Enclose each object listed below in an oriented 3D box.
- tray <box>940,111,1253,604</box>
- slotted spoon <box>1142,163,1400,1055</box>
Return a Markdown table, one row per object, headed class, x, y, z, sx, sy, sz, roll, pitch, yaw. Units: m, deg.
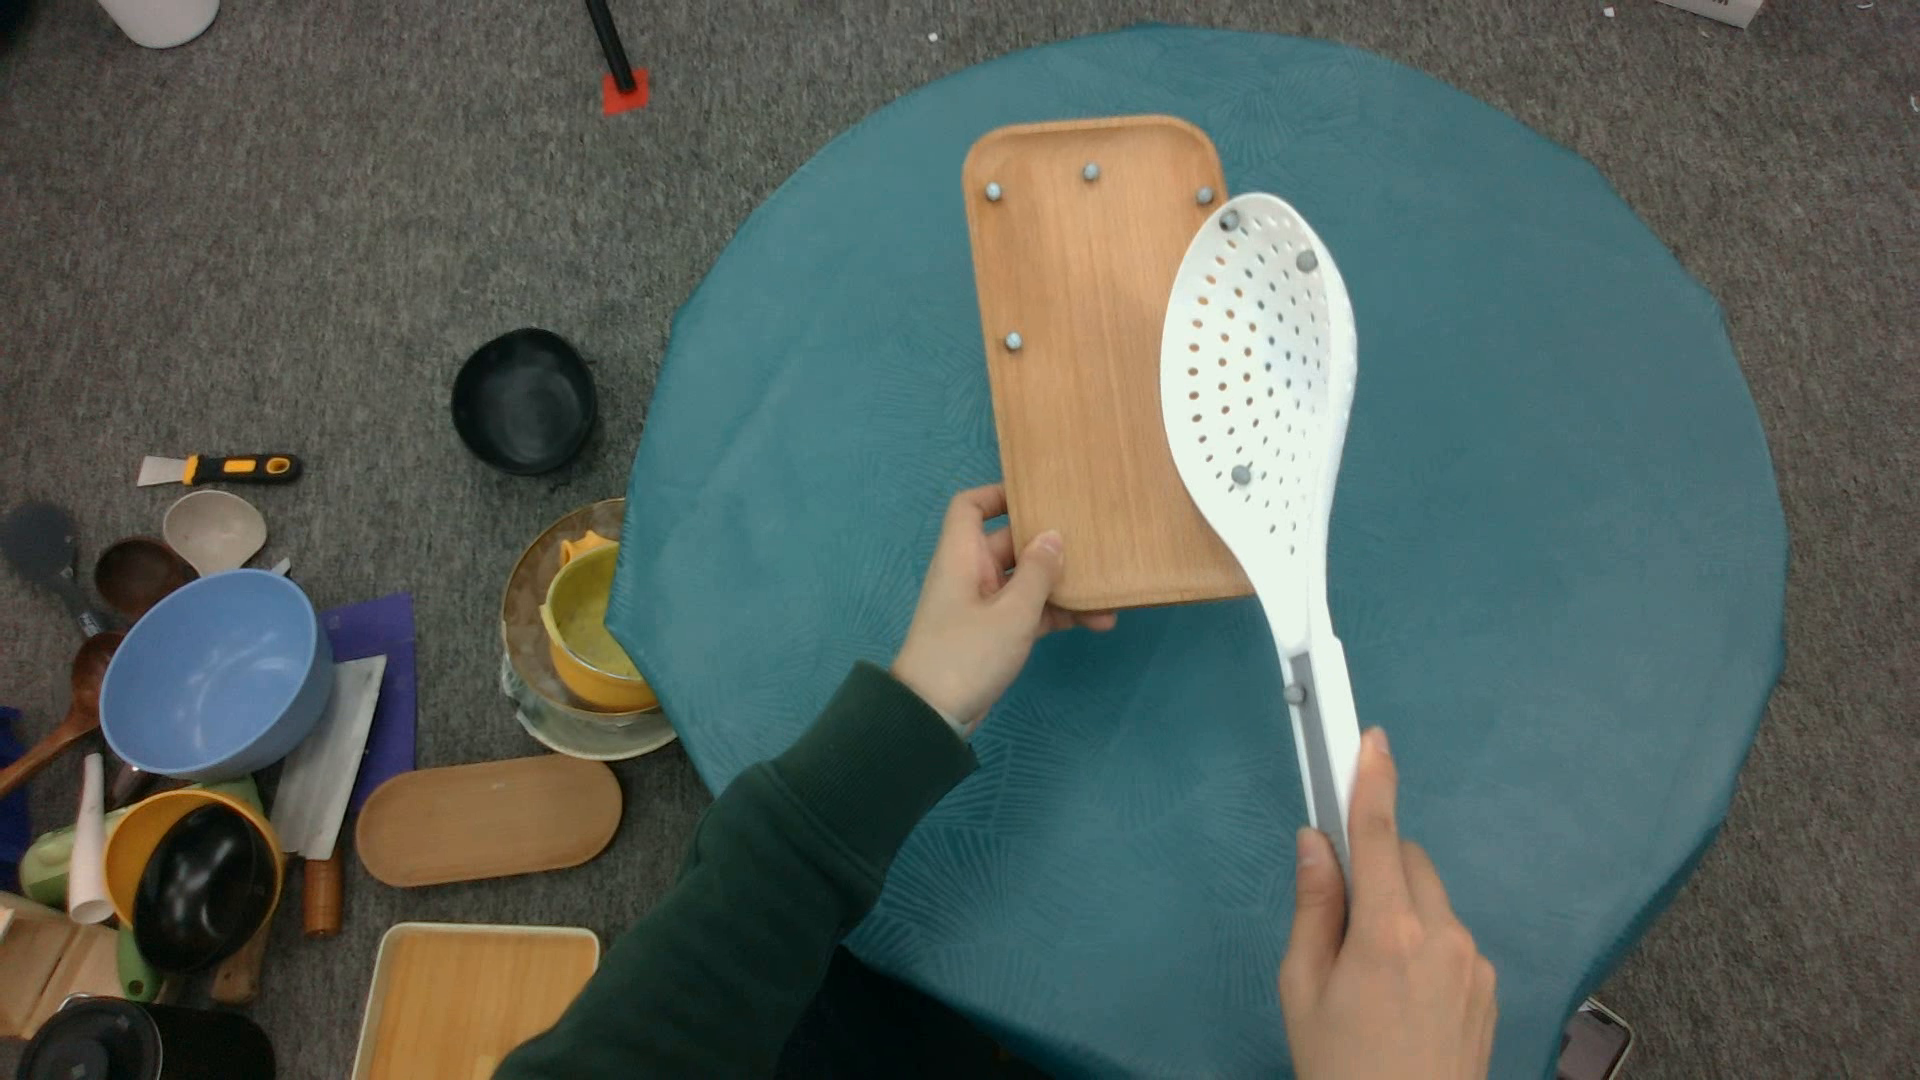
| class | x | y | z | sx | sy | sz | roll | pitch | yaw |
| --- | --- | --- | --- | --- | --- | --- | --- | --- | --- |
| tray | 0.066 | -0.091 | 0.641 | 0.130 | 0.023 | 0.251 | -6 | 70 | -4 |
| slotted spoon | 0.125 | 0.017 | 0.542 | 0.046 | 0.135 | 0.350 | 2 | 73 | -16 |
